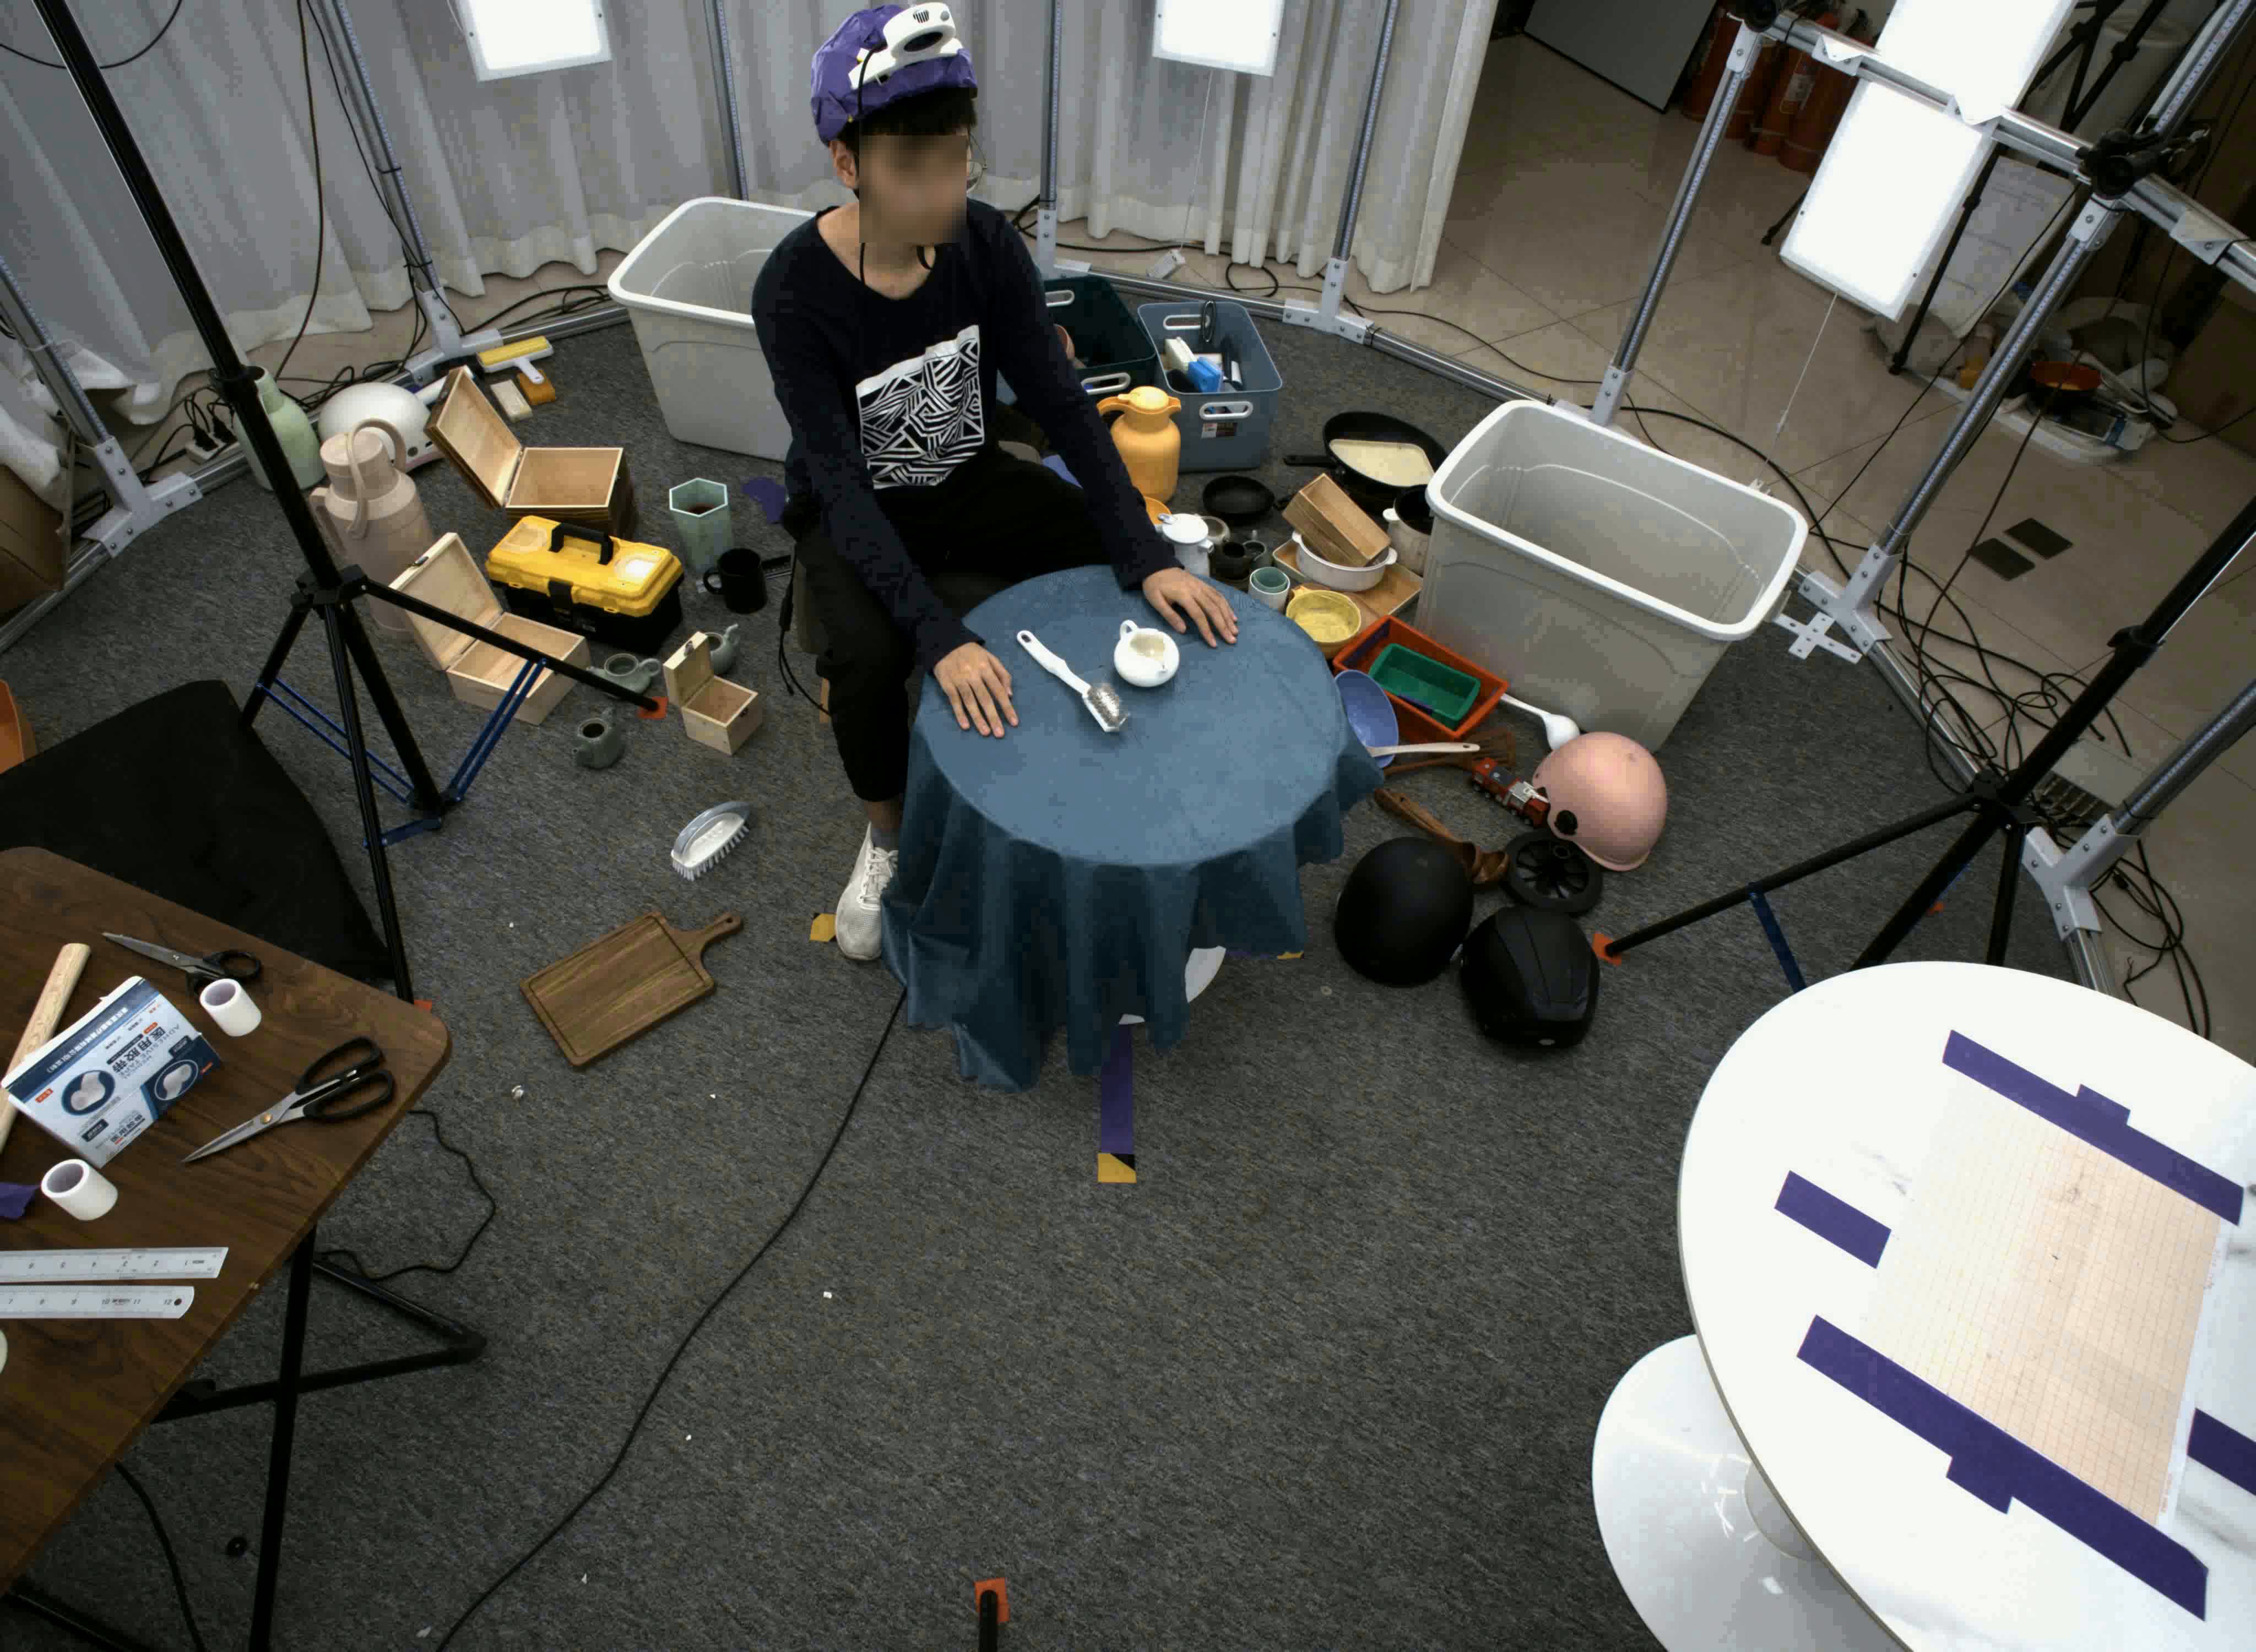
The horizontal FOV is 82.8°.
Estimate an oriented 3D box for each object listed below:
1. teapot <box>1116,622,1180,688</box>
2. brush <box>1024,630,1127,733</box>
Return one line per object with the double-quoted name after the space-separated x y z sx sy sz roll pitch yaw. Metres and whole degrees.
0.023 -0.247 1.851 0.094 0.055 0.130 -26 53 -18 "teapot"
-0.080 -0.220 1.823 0.034 0.049 0.248 -27 56 -20 "brush"
